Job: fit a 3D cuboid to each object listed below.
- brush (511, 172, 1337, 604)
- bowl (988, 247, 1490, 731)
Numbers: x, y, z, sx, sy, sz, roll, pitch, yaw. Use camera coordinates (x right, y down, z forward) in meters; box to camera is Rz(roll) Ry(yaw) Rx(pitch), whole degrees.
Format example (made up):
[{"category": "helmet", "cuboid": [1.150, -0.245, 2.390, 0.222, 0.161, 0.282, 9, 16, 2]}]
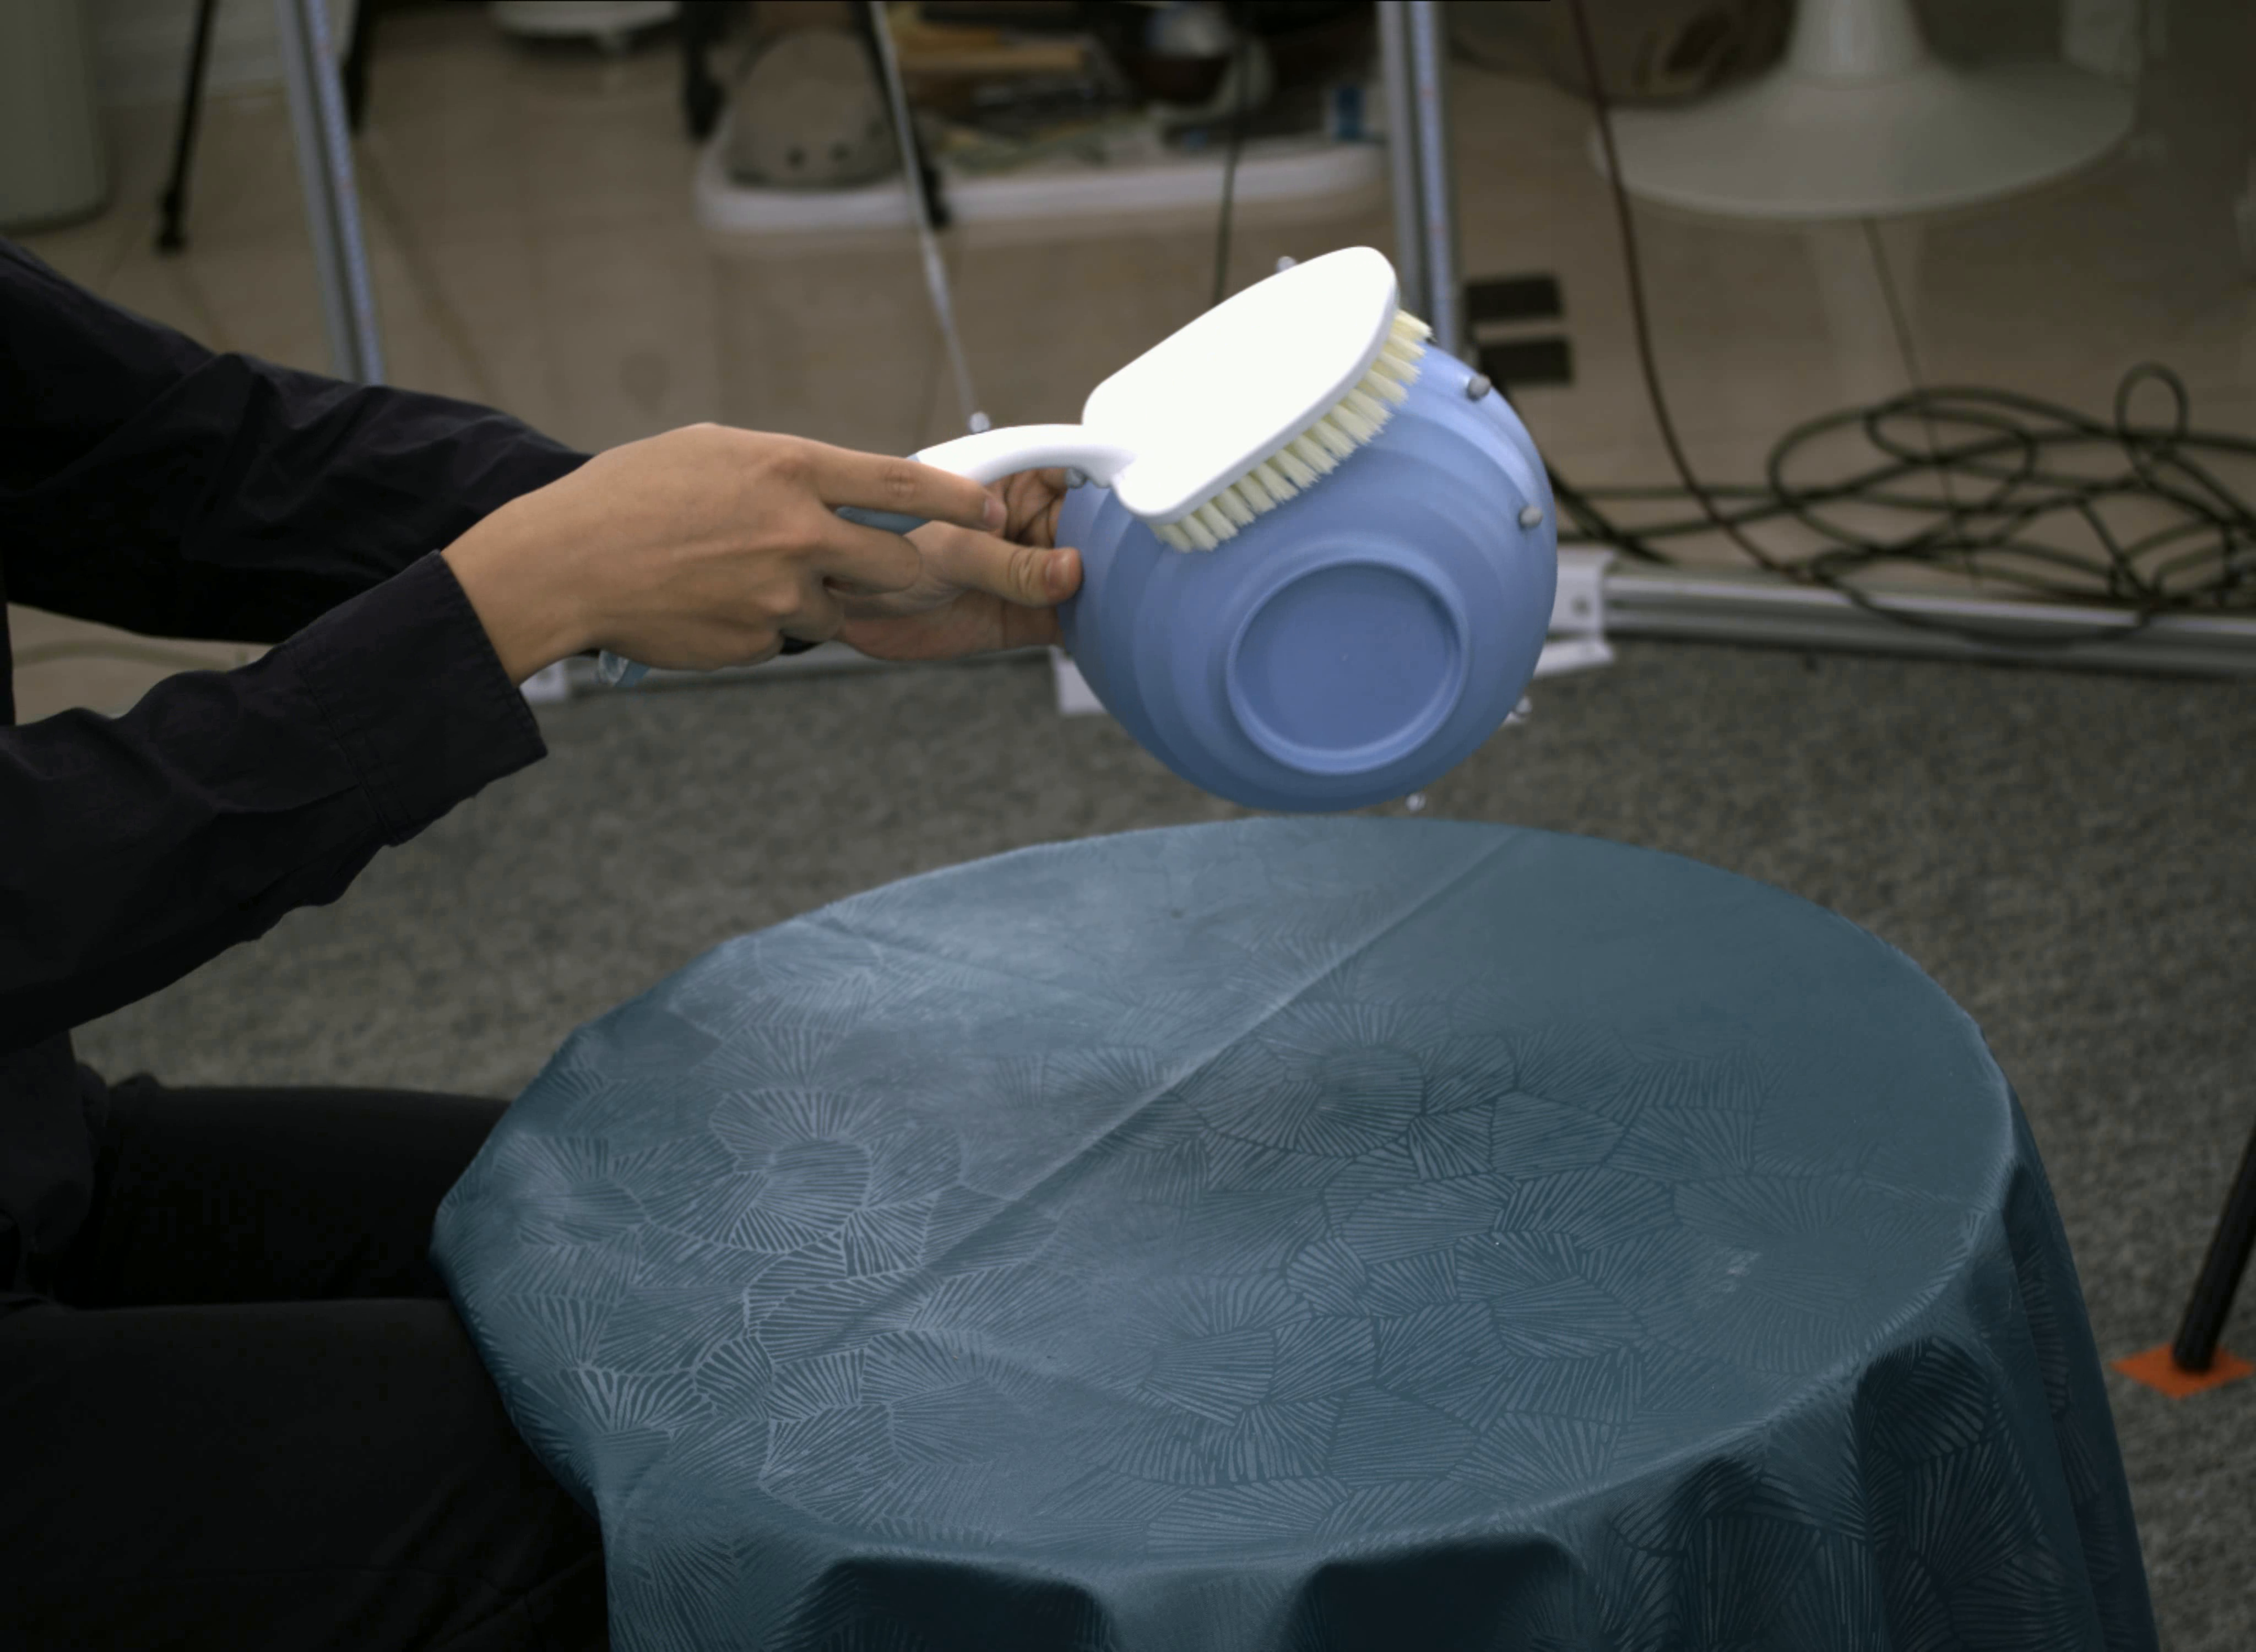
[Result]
[{"category": "brush", "cuboid": [-0.072, -0.147, 2.073, 0.325, 0.085, 0.082, -26, 21, -1]}, {"category": "bowl", "cuboid": [0.050, -0.113, 2.139, 0.196, 0.200, 0.094, -9, 32, -6]}]
